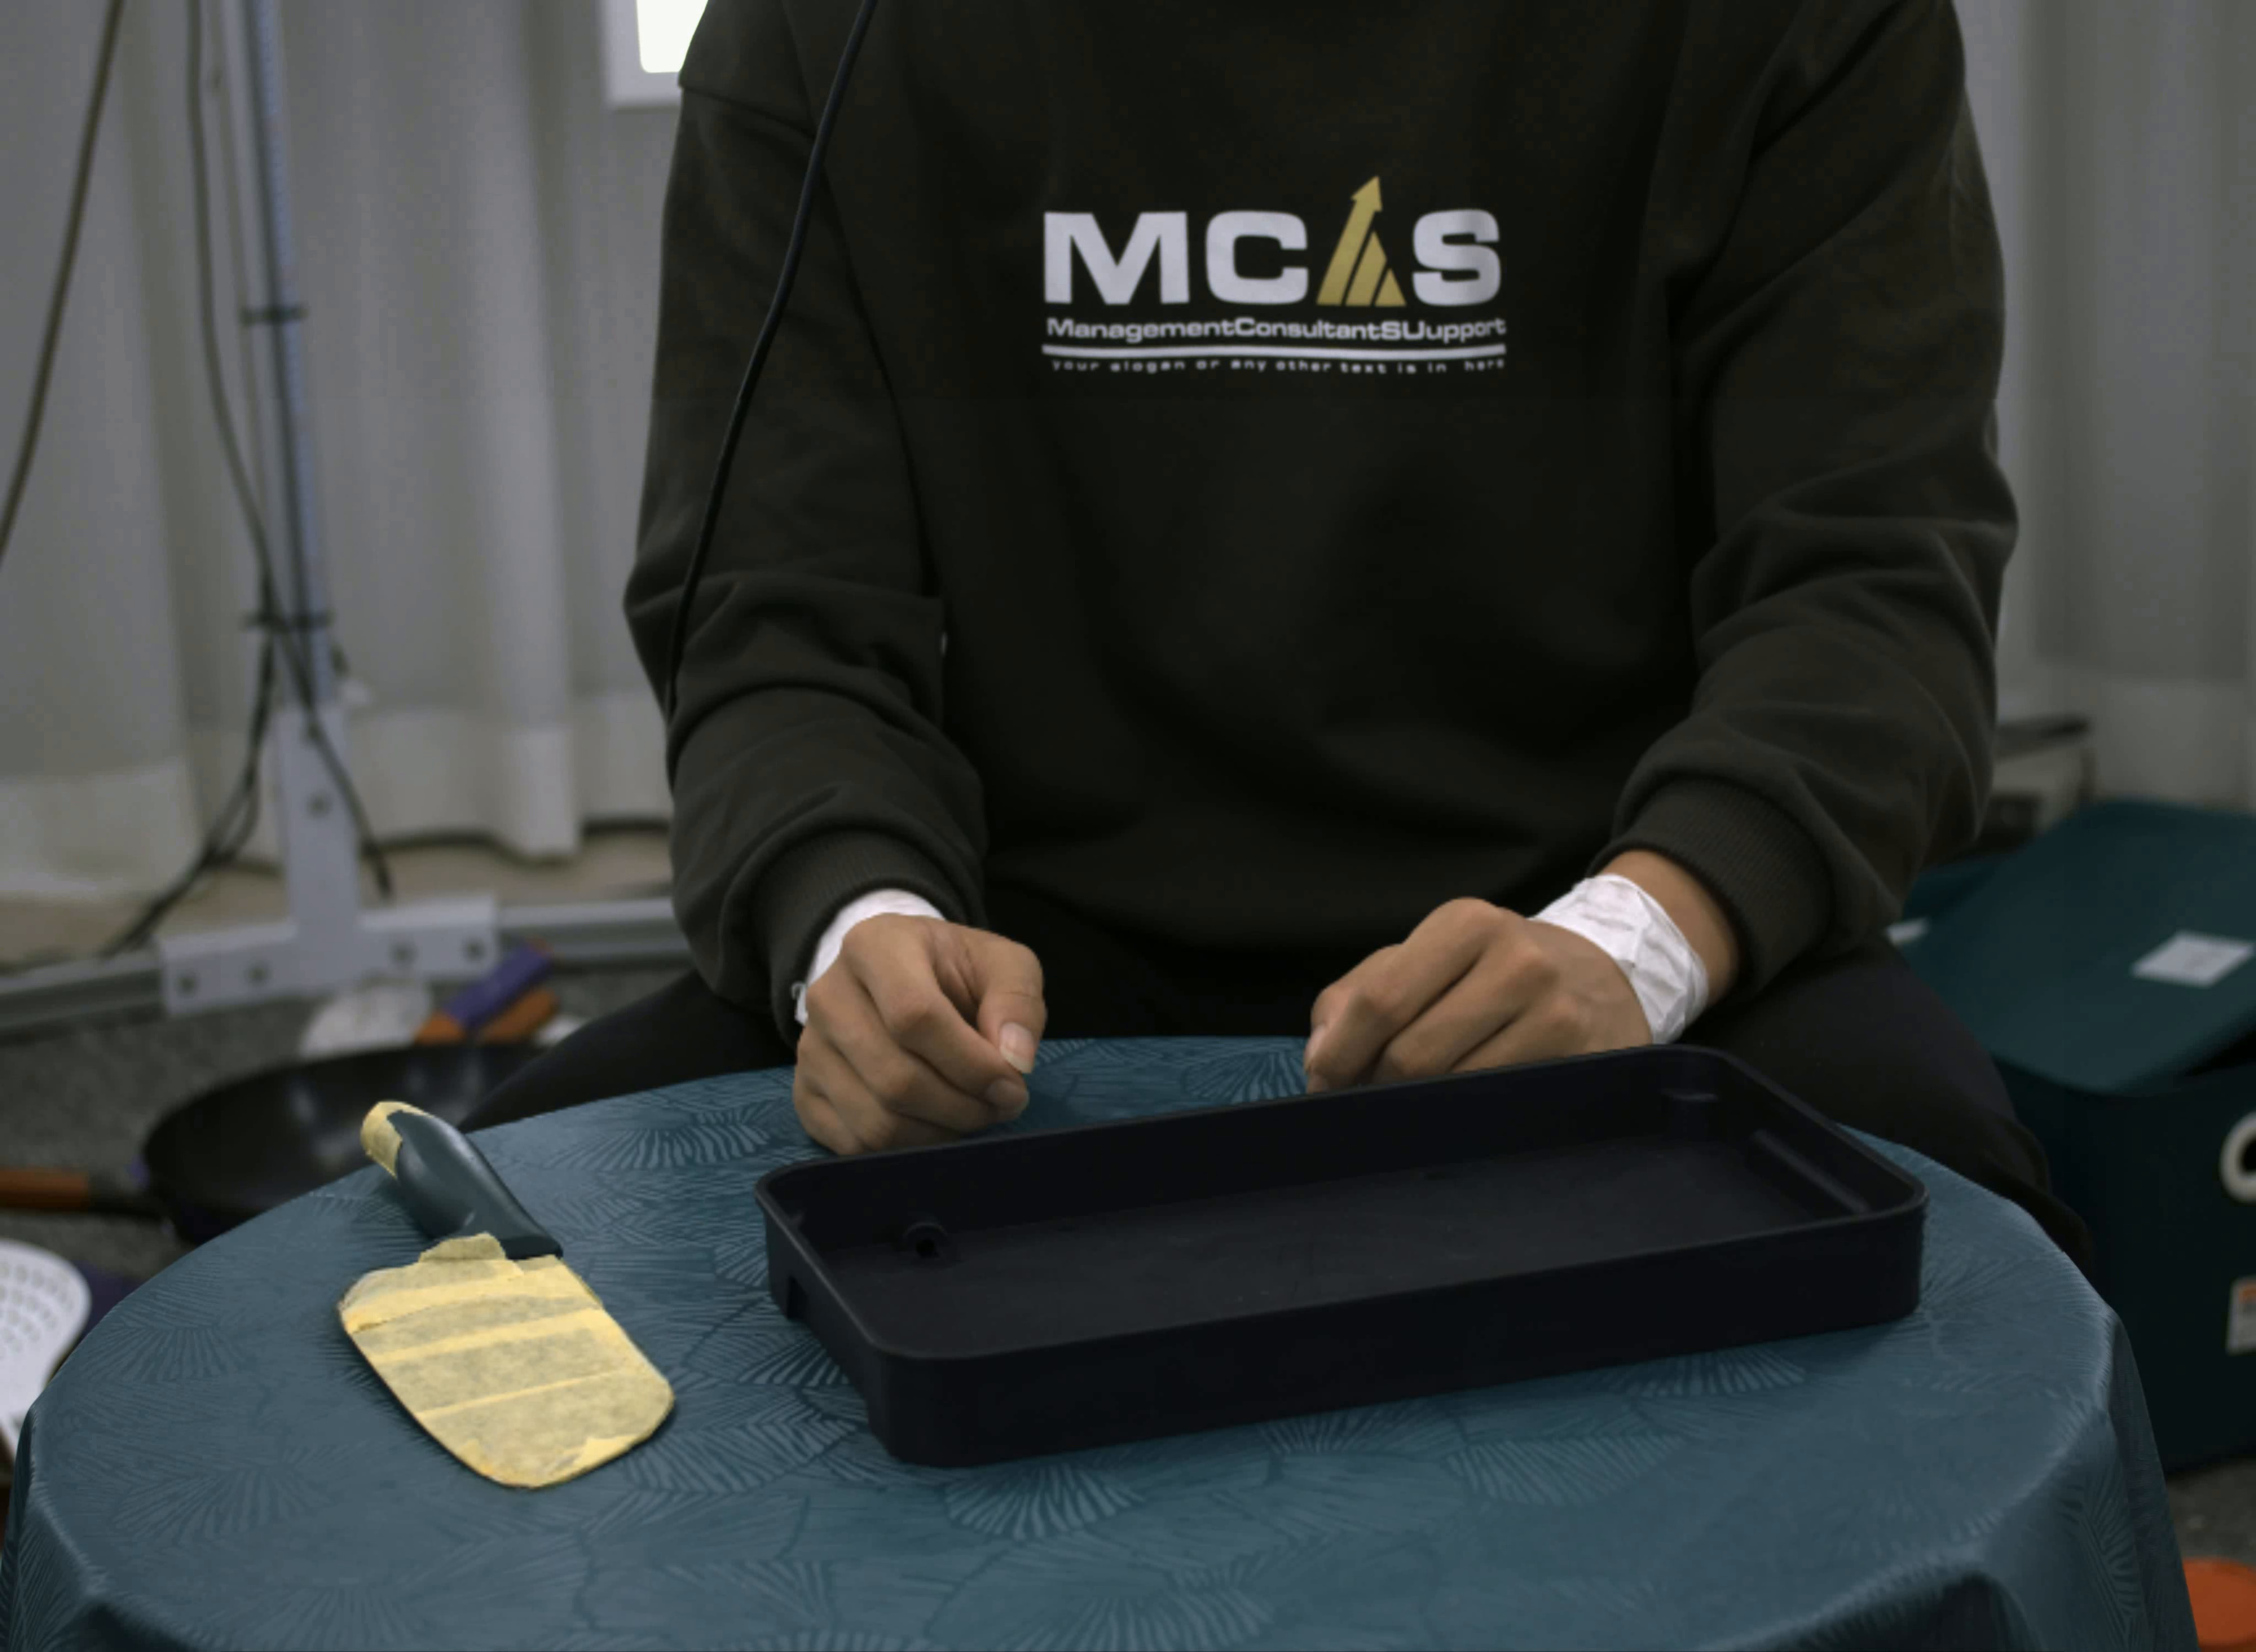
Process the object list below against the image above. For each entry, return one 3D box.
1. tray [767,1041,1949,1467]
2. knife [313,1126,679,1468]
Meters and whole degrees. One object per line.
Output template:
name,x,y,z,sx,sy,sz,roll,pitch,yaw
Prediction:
tray,0.066,0.122,1.610,0.316,0.037,0.185,-8,15,-17
knife,-0.200,0.140,1.629,0.080,0.027,0.292,-6,16,-19
